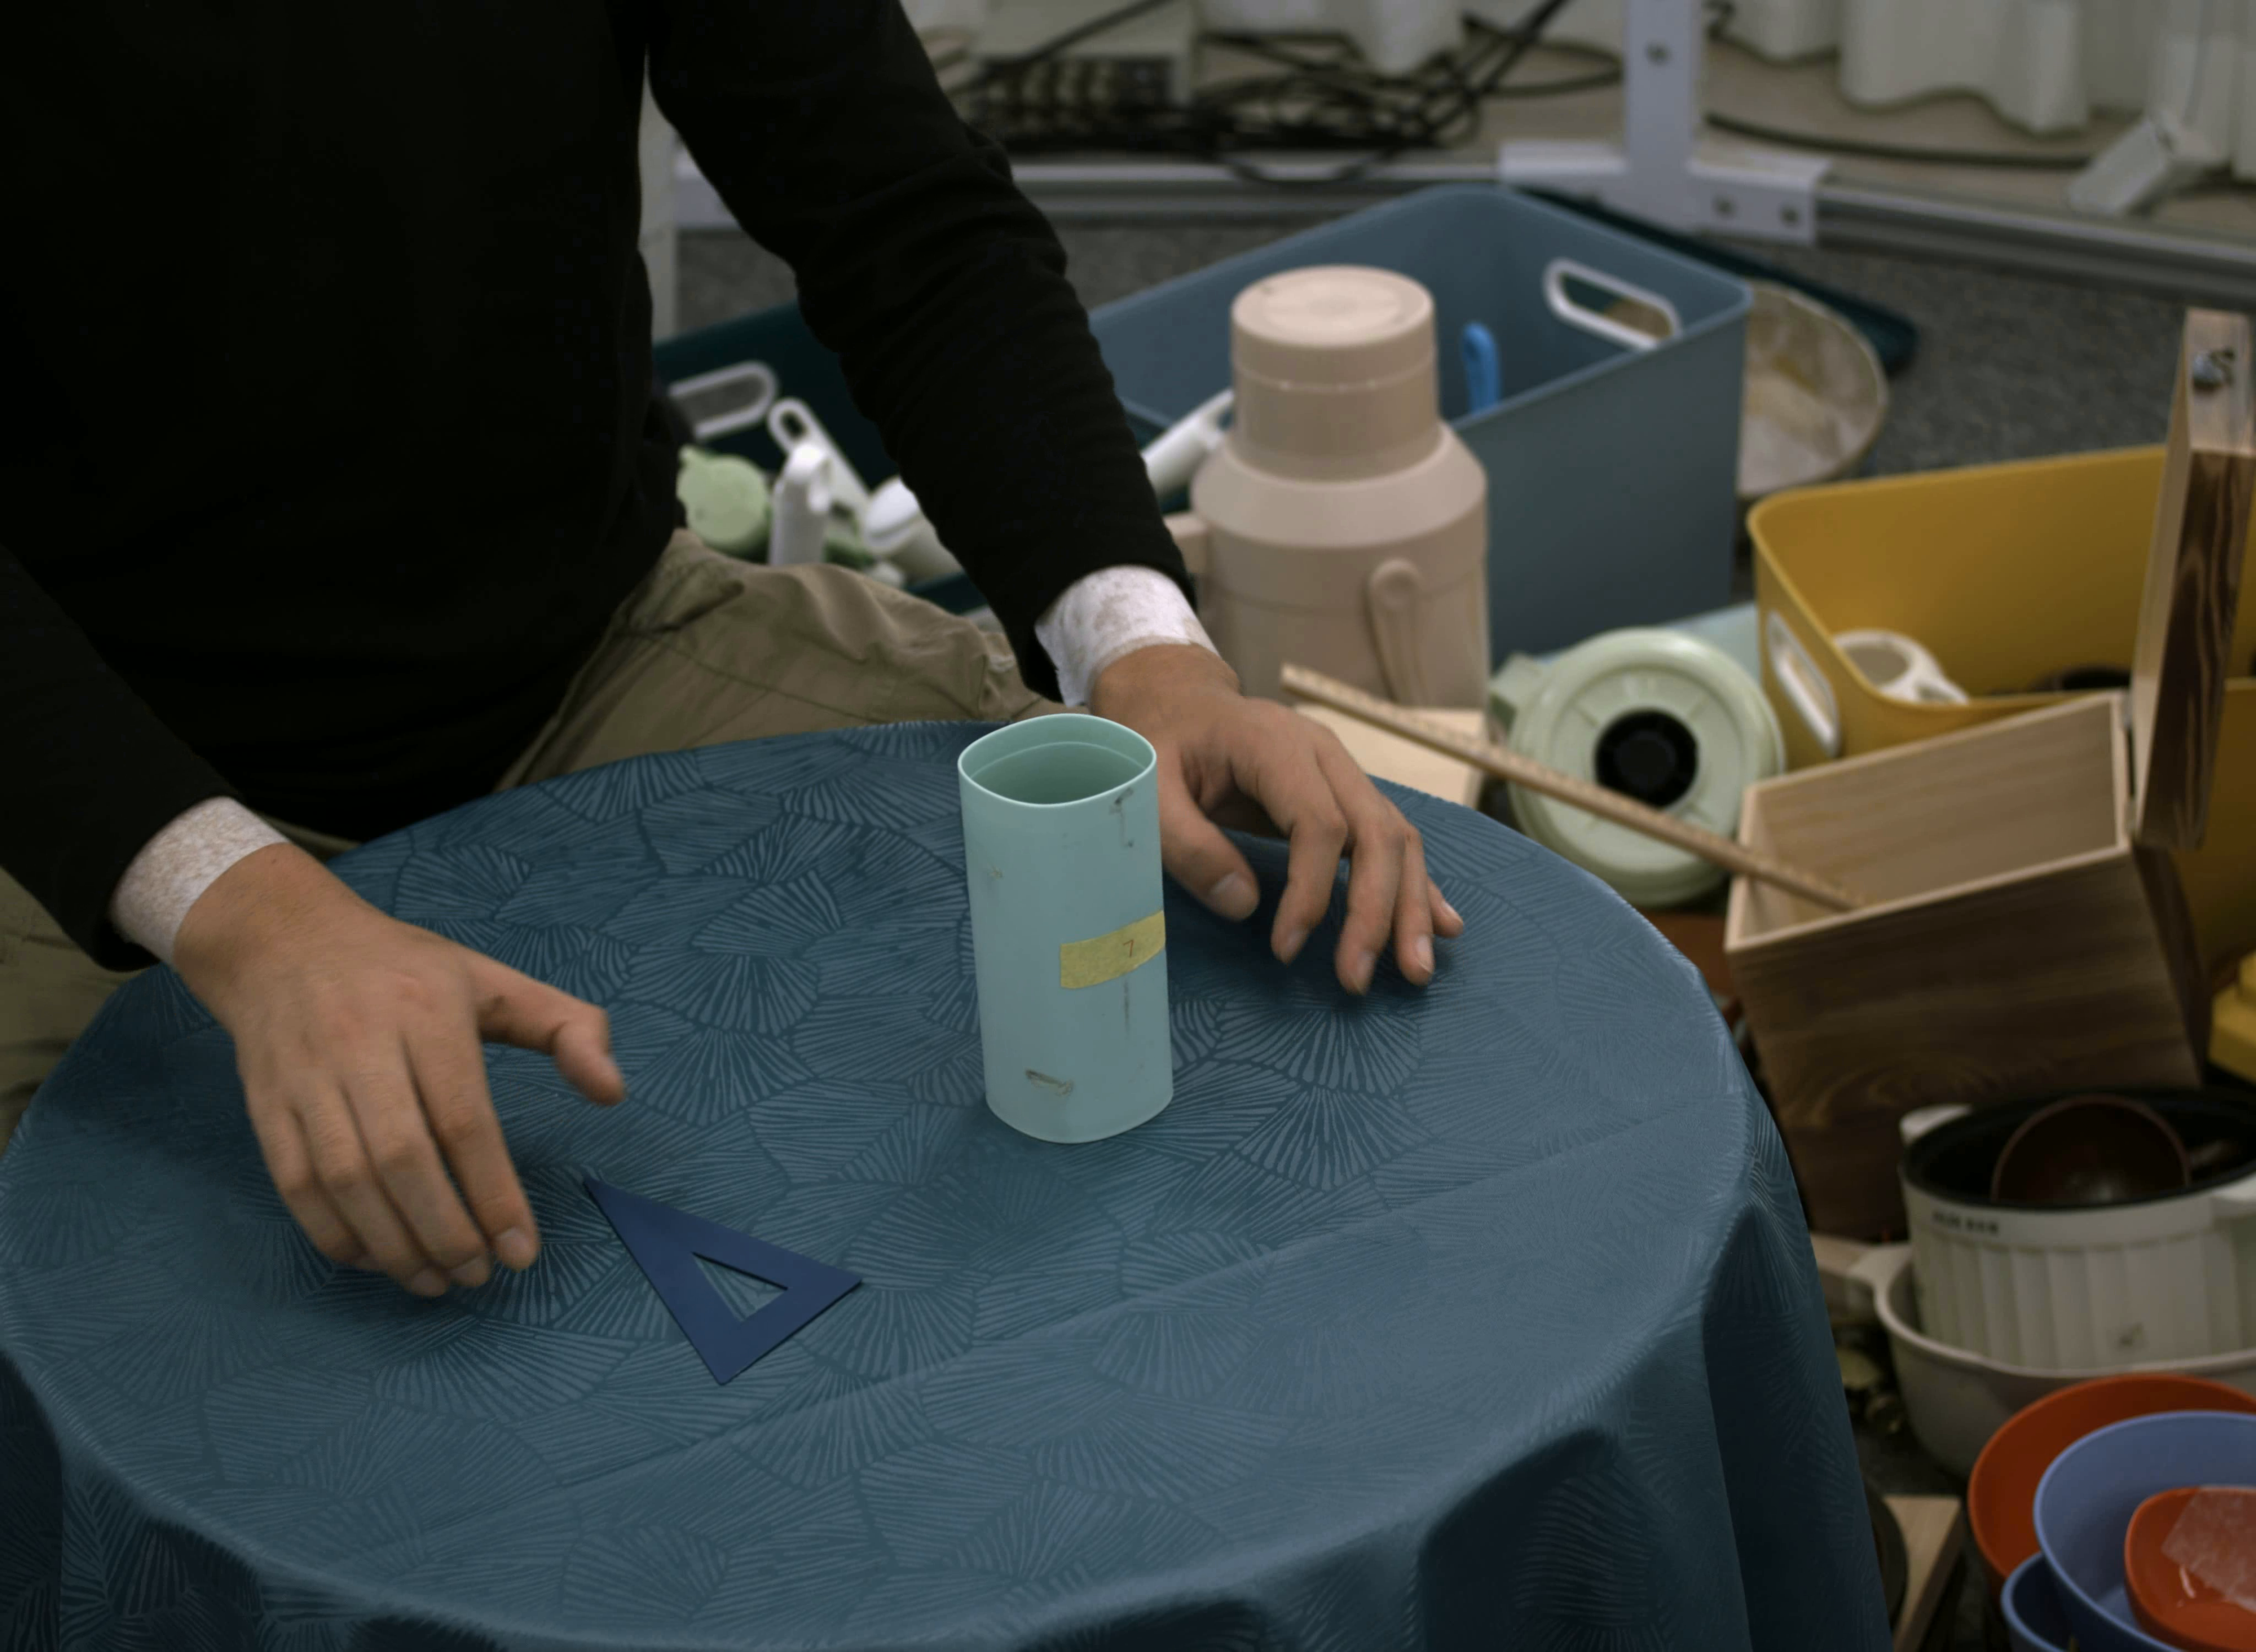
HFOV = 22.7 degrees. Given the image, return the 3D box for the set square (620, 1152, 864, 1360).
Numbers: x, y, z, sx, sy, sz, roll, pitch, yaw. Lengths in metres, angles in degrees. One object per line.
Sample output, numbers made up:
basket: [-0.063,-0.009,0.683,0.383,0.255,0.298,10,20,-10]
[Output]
set square: [-0.126,0.134,1.843,0.061,0.006,0.133,-14,29,-14]

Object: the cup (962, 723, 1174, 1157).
cup: [-0.020,0.038,1.893,0.066,0.131,0.068,-2,27,2]
